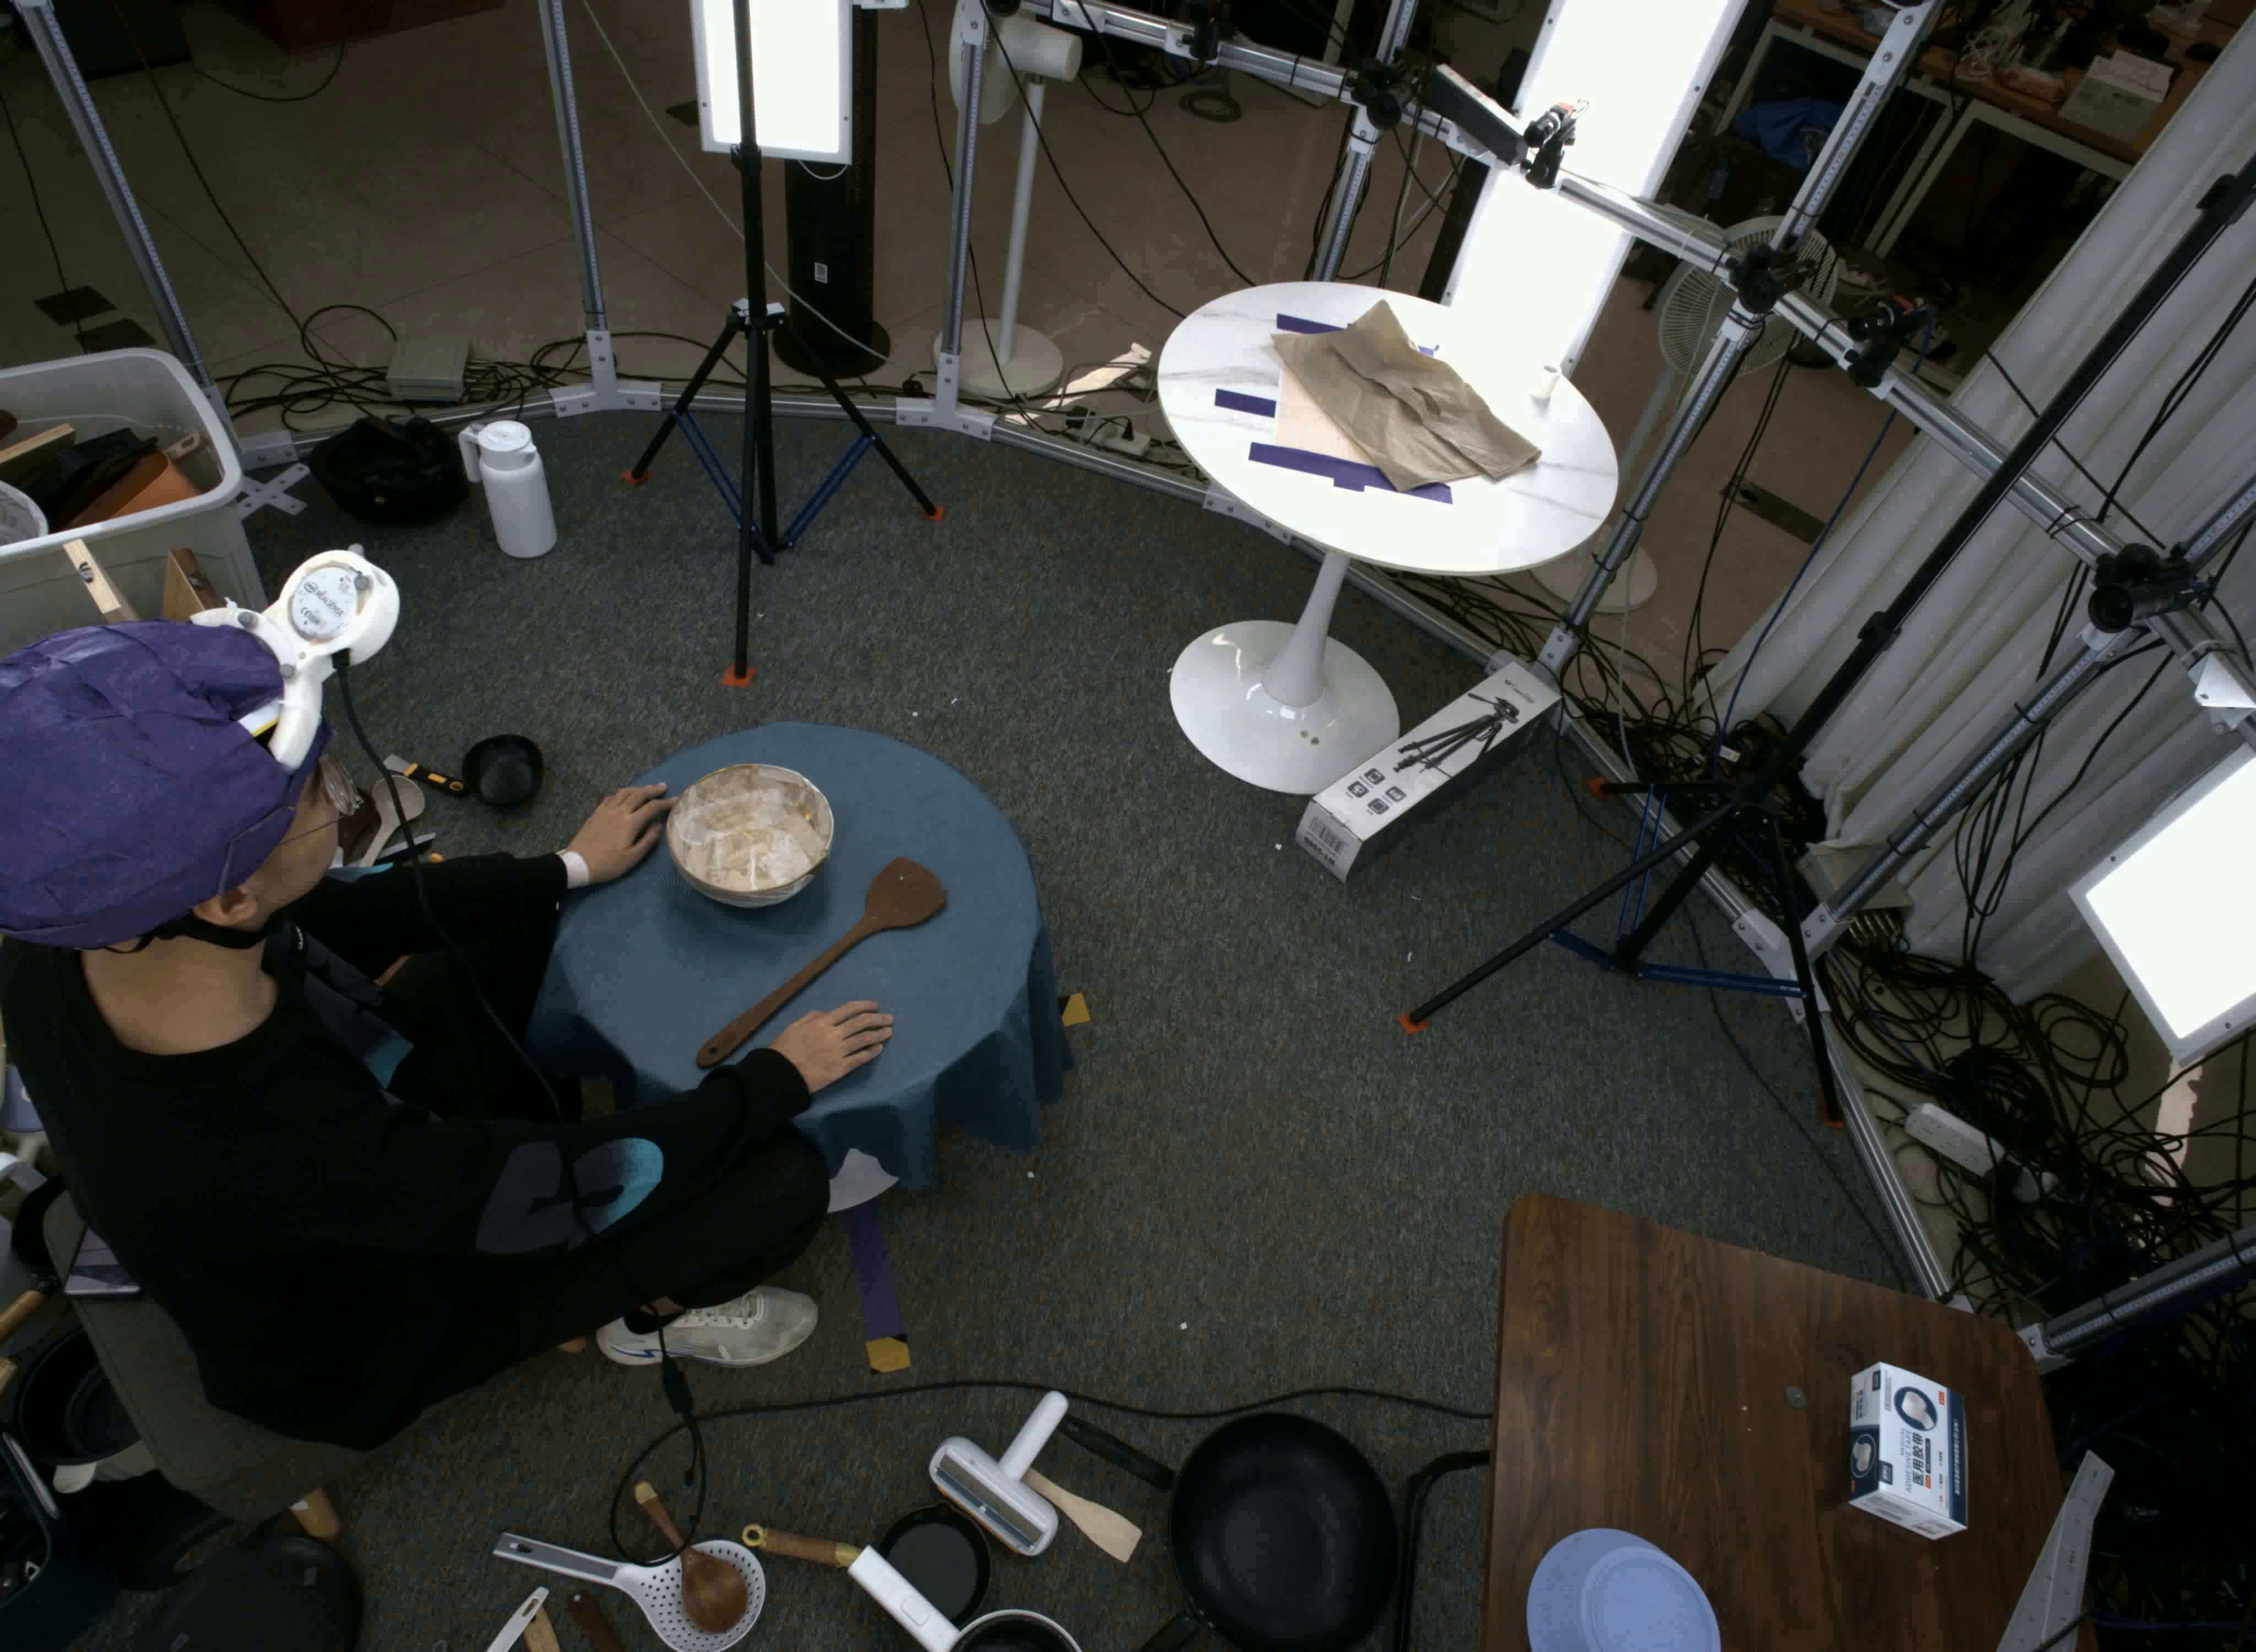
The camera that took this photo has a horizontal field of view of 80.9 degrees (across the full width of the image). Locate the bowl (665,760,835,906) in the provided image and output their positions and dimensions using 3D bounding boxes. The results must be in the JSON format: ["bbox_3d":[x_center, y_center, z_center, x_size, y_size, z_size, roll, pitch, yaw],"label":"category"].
[{"bbox_3d":[-0.477,0.023,1.637,0.214,0.096,0.211,8,54,-9],"label":"bowl"}]

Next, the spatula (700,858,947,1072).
[{"bbox_3d":[-0.378,0.169,1.606,0.094,0.016,0.386,37,54,14],"label":"spatula"}]
